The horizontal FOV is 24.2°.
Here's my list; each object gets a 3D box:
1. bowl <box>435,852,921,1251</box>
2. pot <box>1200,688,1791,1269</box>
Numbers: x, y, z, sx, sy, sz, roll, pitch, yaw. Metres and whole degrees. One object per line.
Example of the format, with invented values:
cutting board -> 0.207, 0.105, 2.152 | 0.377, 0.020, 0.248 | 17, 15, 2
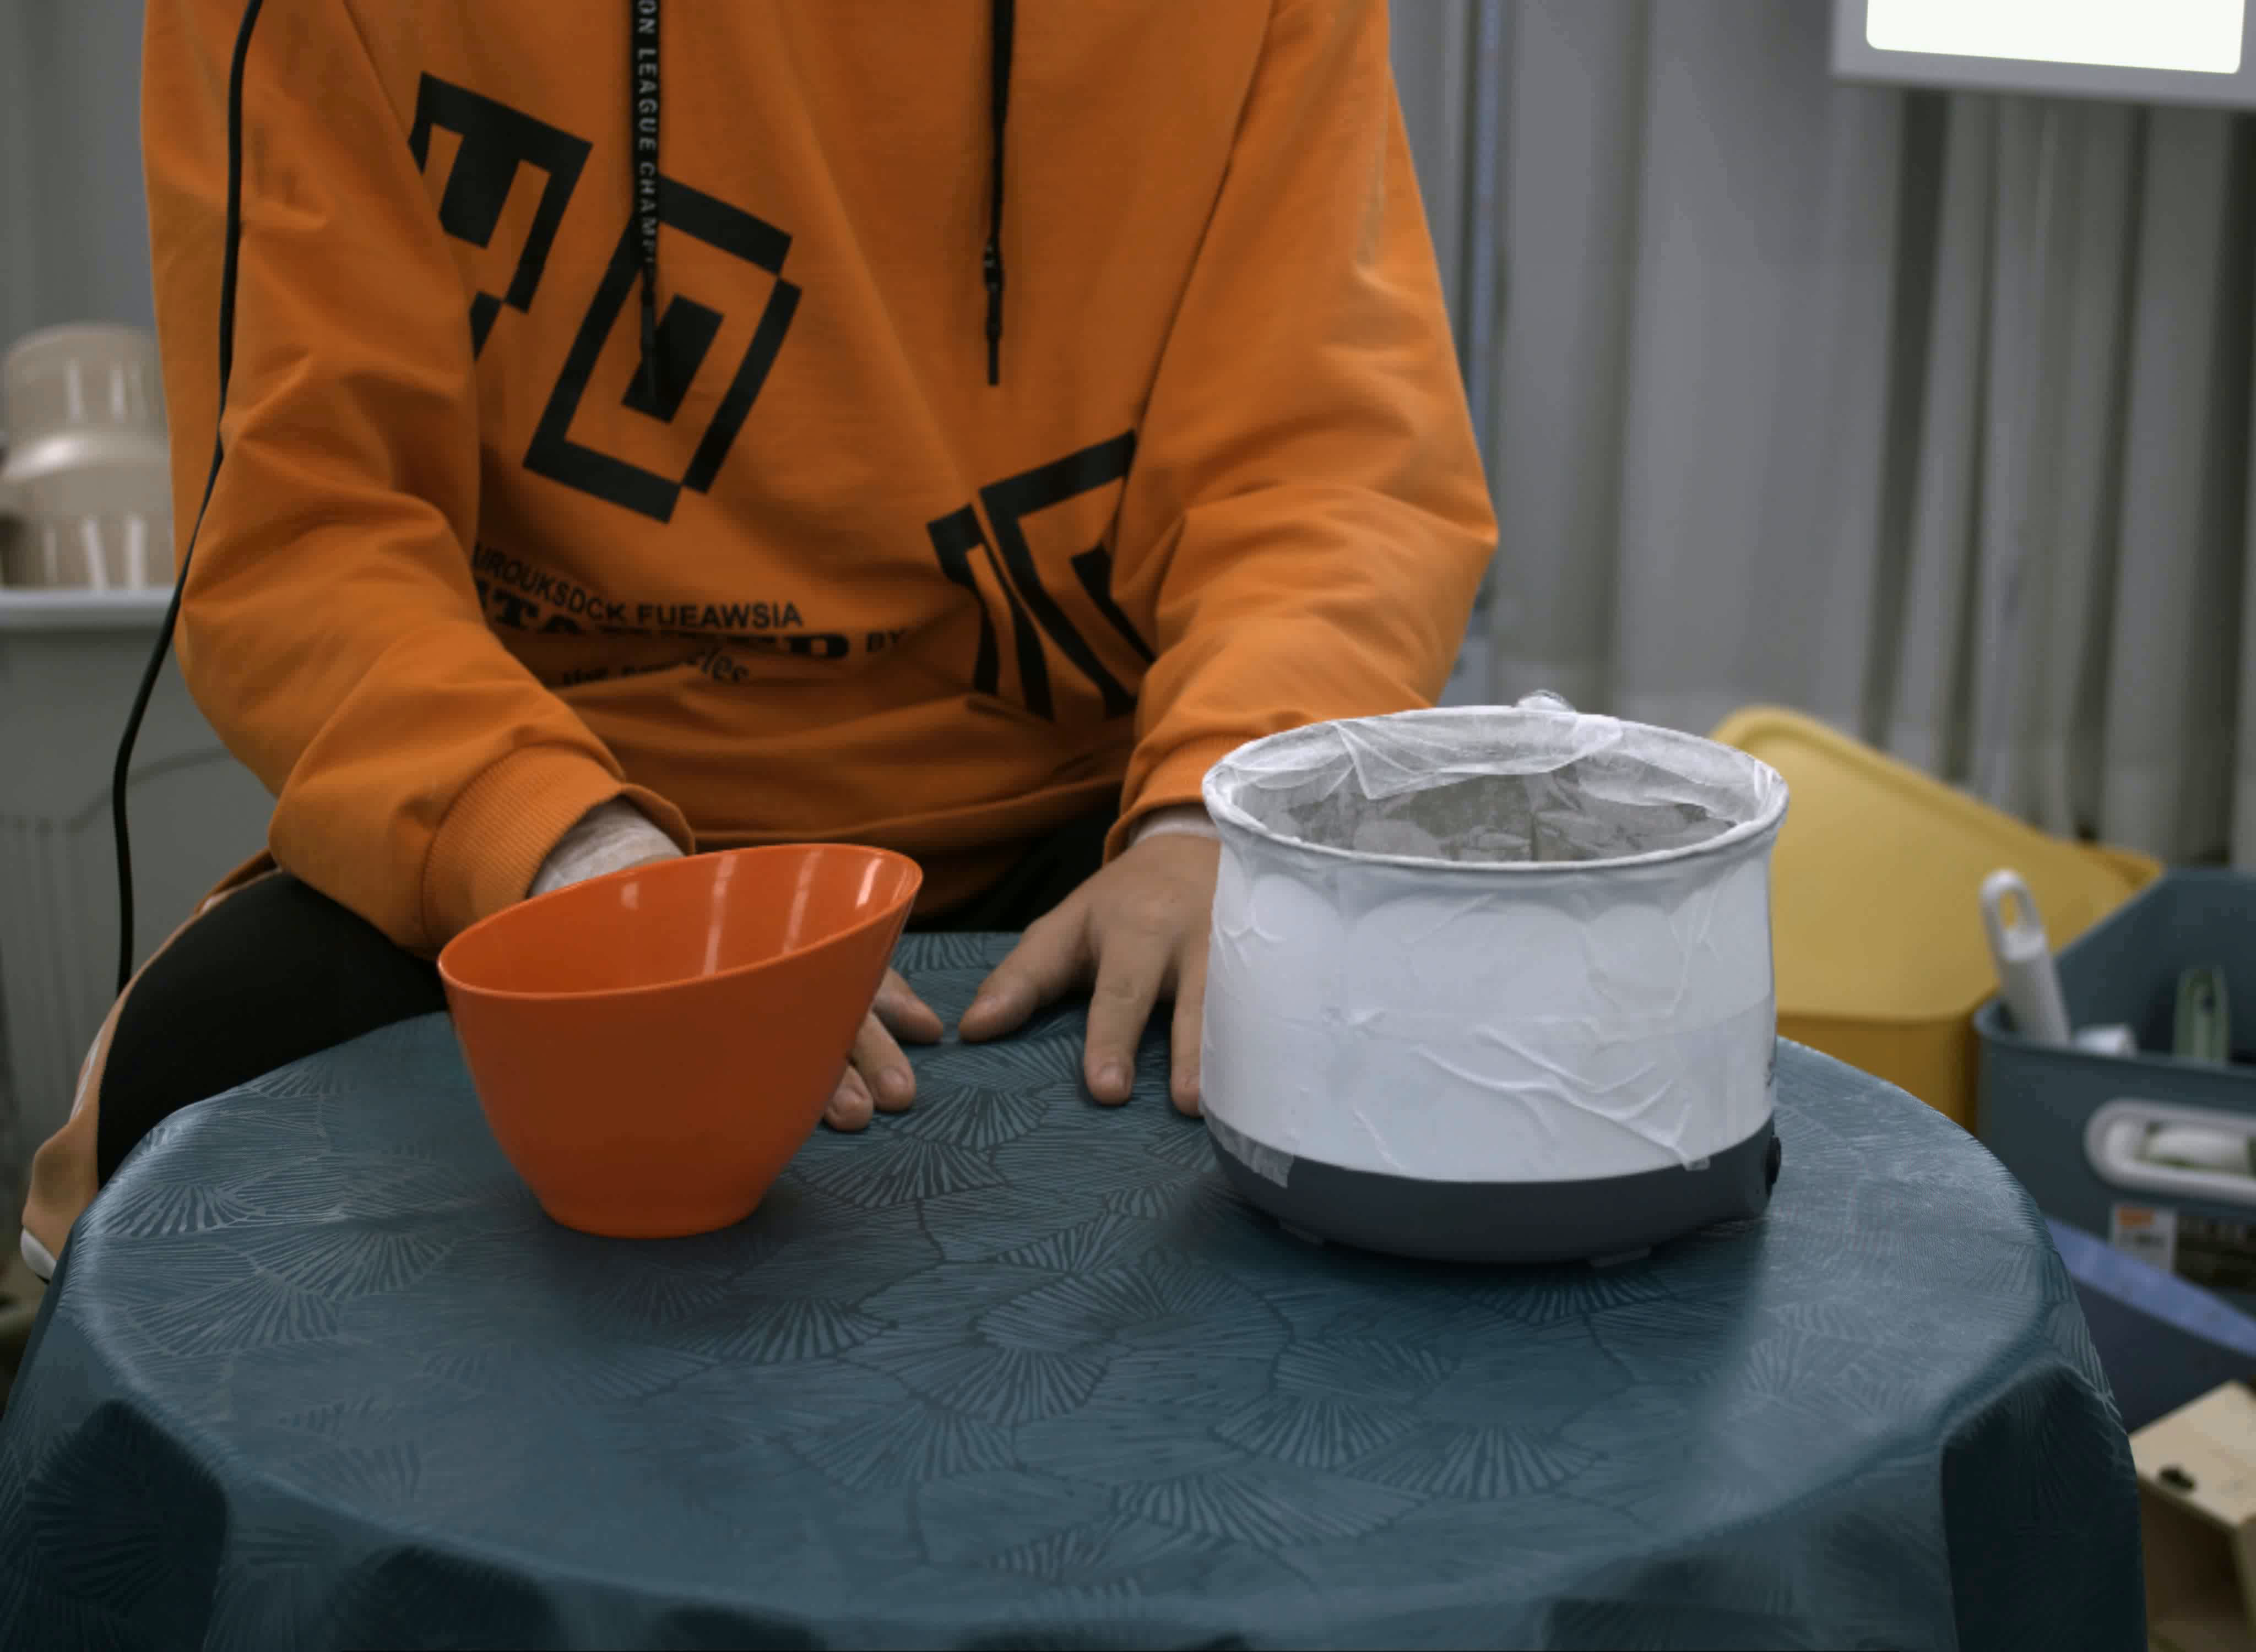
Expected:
bowl -> -0.134, 0.069, 1.592 | 0.147, 0.105, 0.147 | -1, 16, 1
pot -> 0.115, 0.041, 1.626 | 0.177, 0.138, 0.233 | 4, 16, 10
